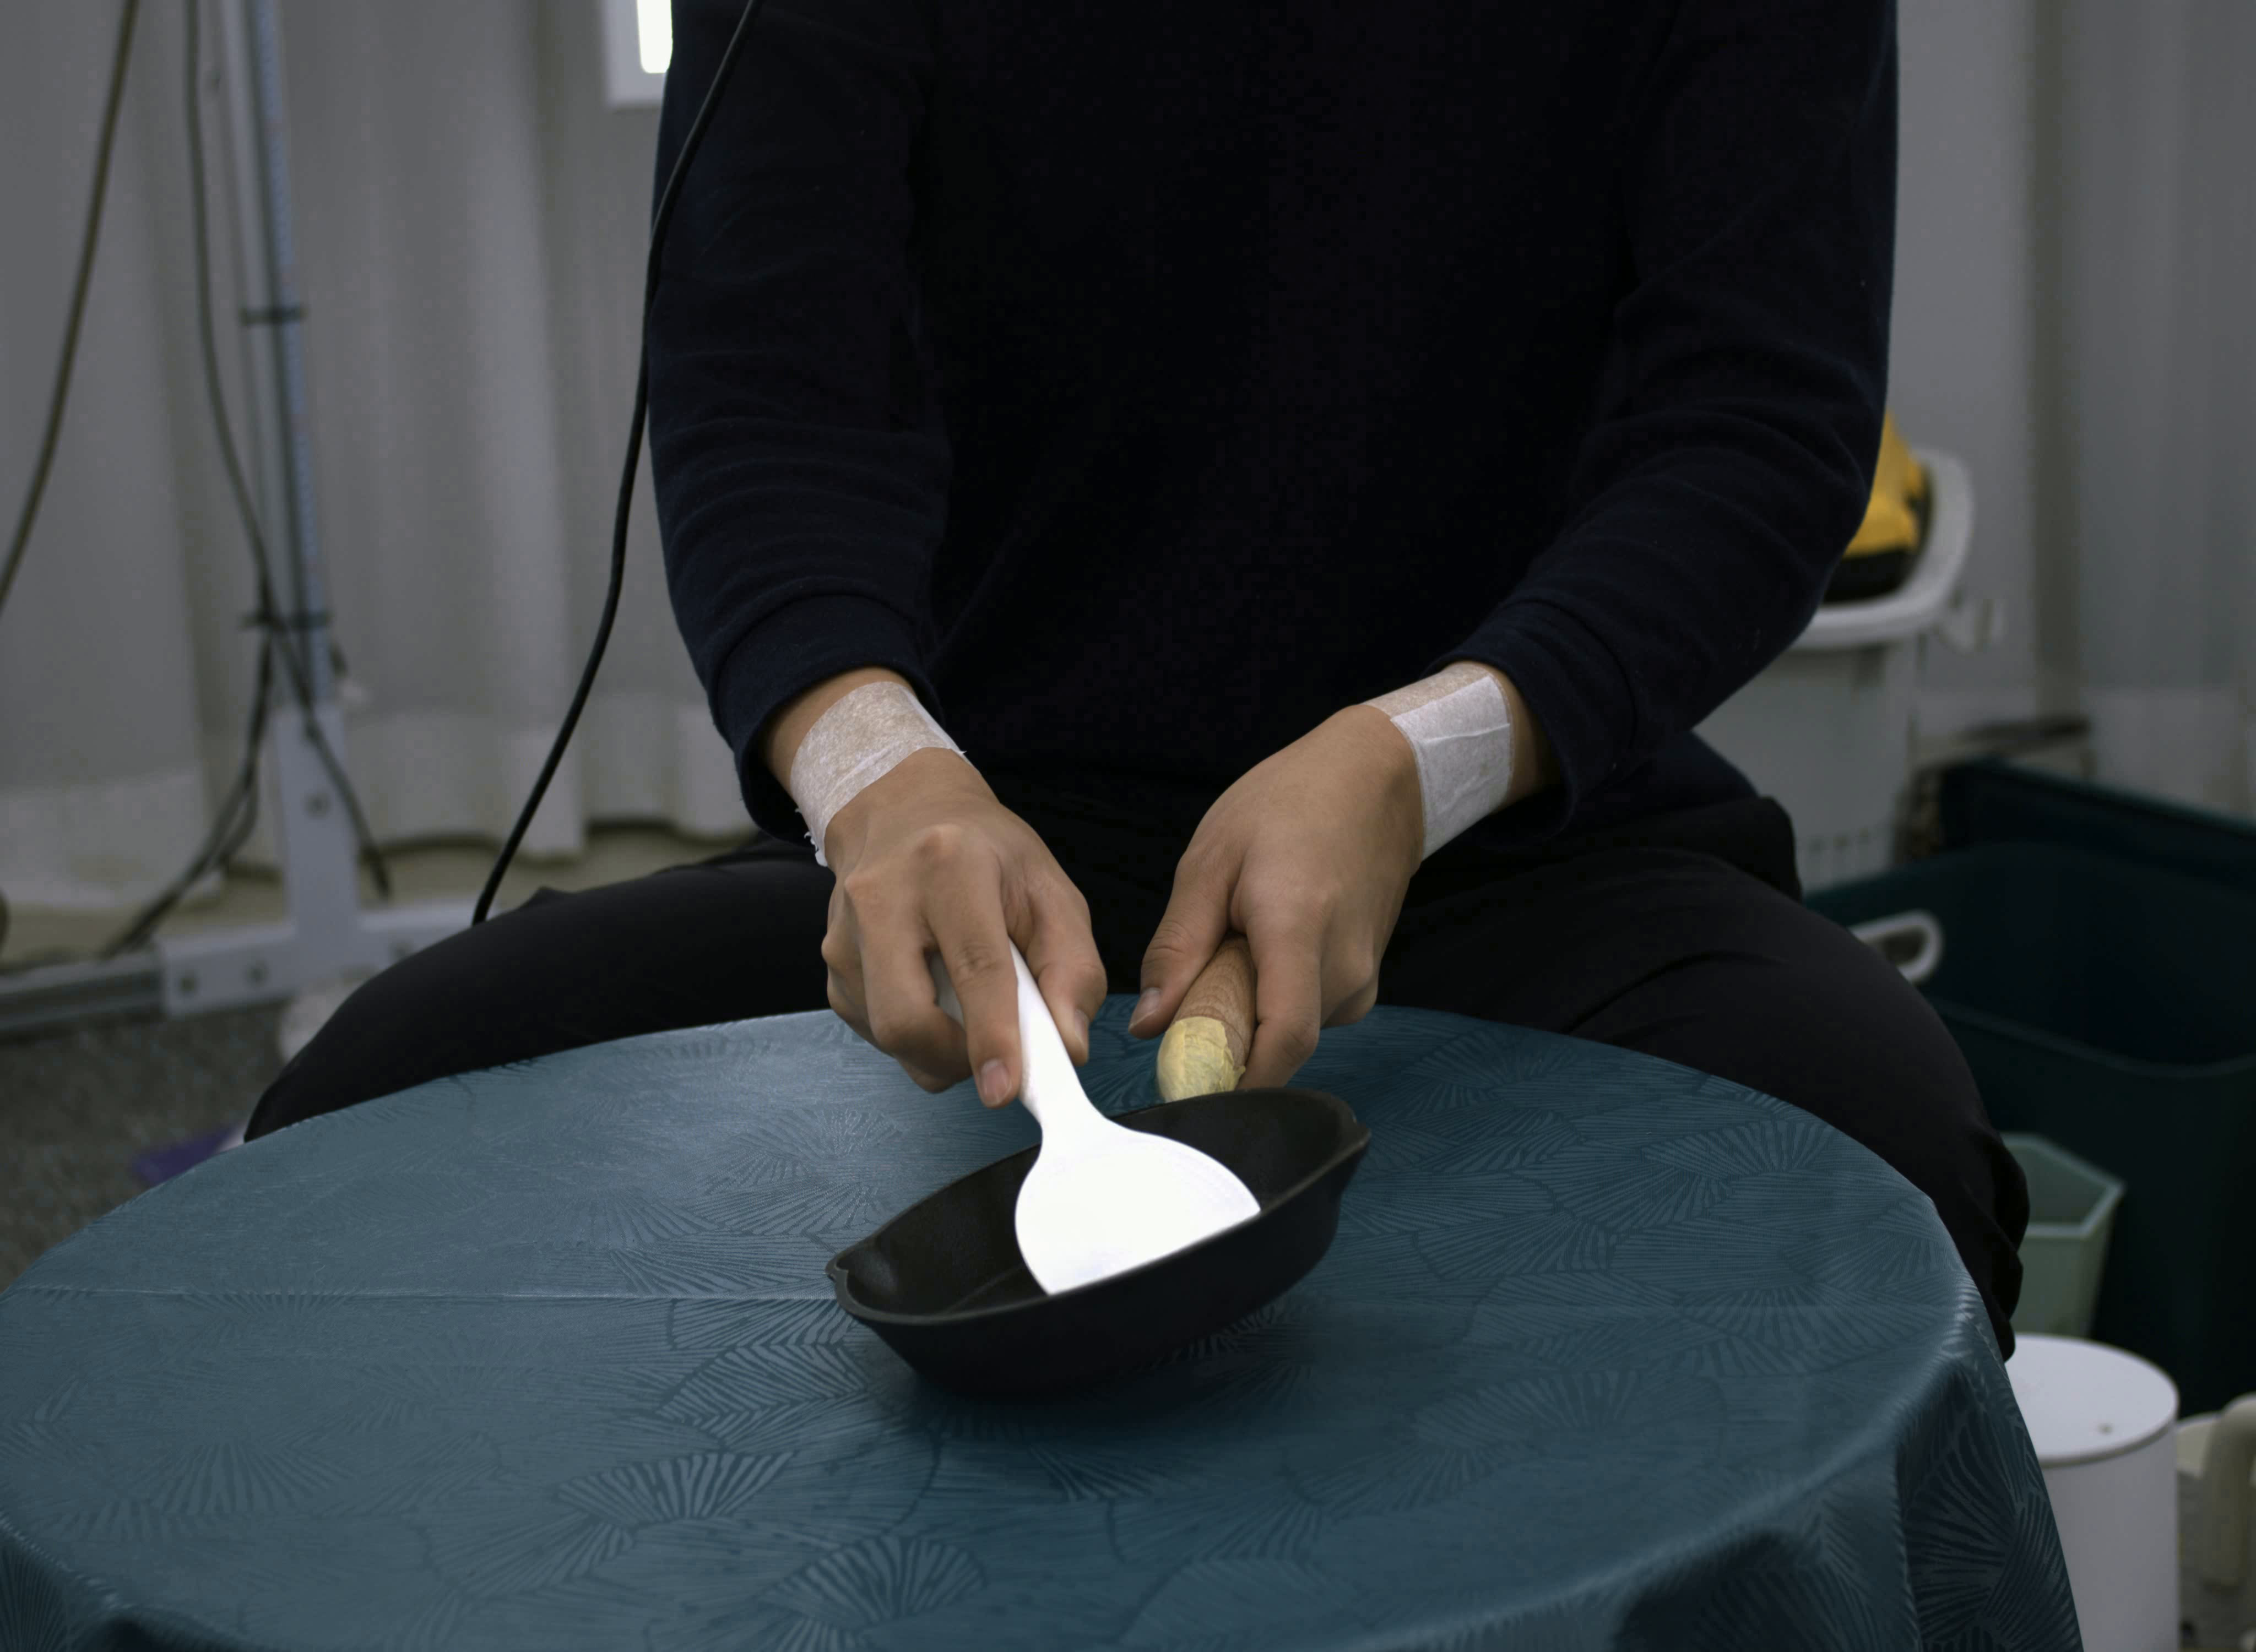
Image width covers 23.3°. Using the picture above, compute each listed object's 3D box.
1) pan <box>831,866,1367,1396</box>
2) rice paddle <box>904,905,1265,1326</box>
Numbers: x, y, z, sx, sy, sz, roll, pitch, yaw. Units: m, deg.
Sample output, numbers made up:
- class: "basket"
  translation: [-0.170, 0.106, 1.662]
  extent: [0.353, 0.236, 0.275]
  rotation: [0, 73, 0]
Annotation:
- class: "pan"
  translation: [0.016, 0.087, 1.644]
  extent: [0.168, 0.049, 0.326]
  rotation: [-15, 14, 21]
- class: "rice paddle"
  translation: [-0.016, 0.085, 1.596]
  extent: [0.068, 0.029, 0.208]
  rotation: [-18, 34, -14]
